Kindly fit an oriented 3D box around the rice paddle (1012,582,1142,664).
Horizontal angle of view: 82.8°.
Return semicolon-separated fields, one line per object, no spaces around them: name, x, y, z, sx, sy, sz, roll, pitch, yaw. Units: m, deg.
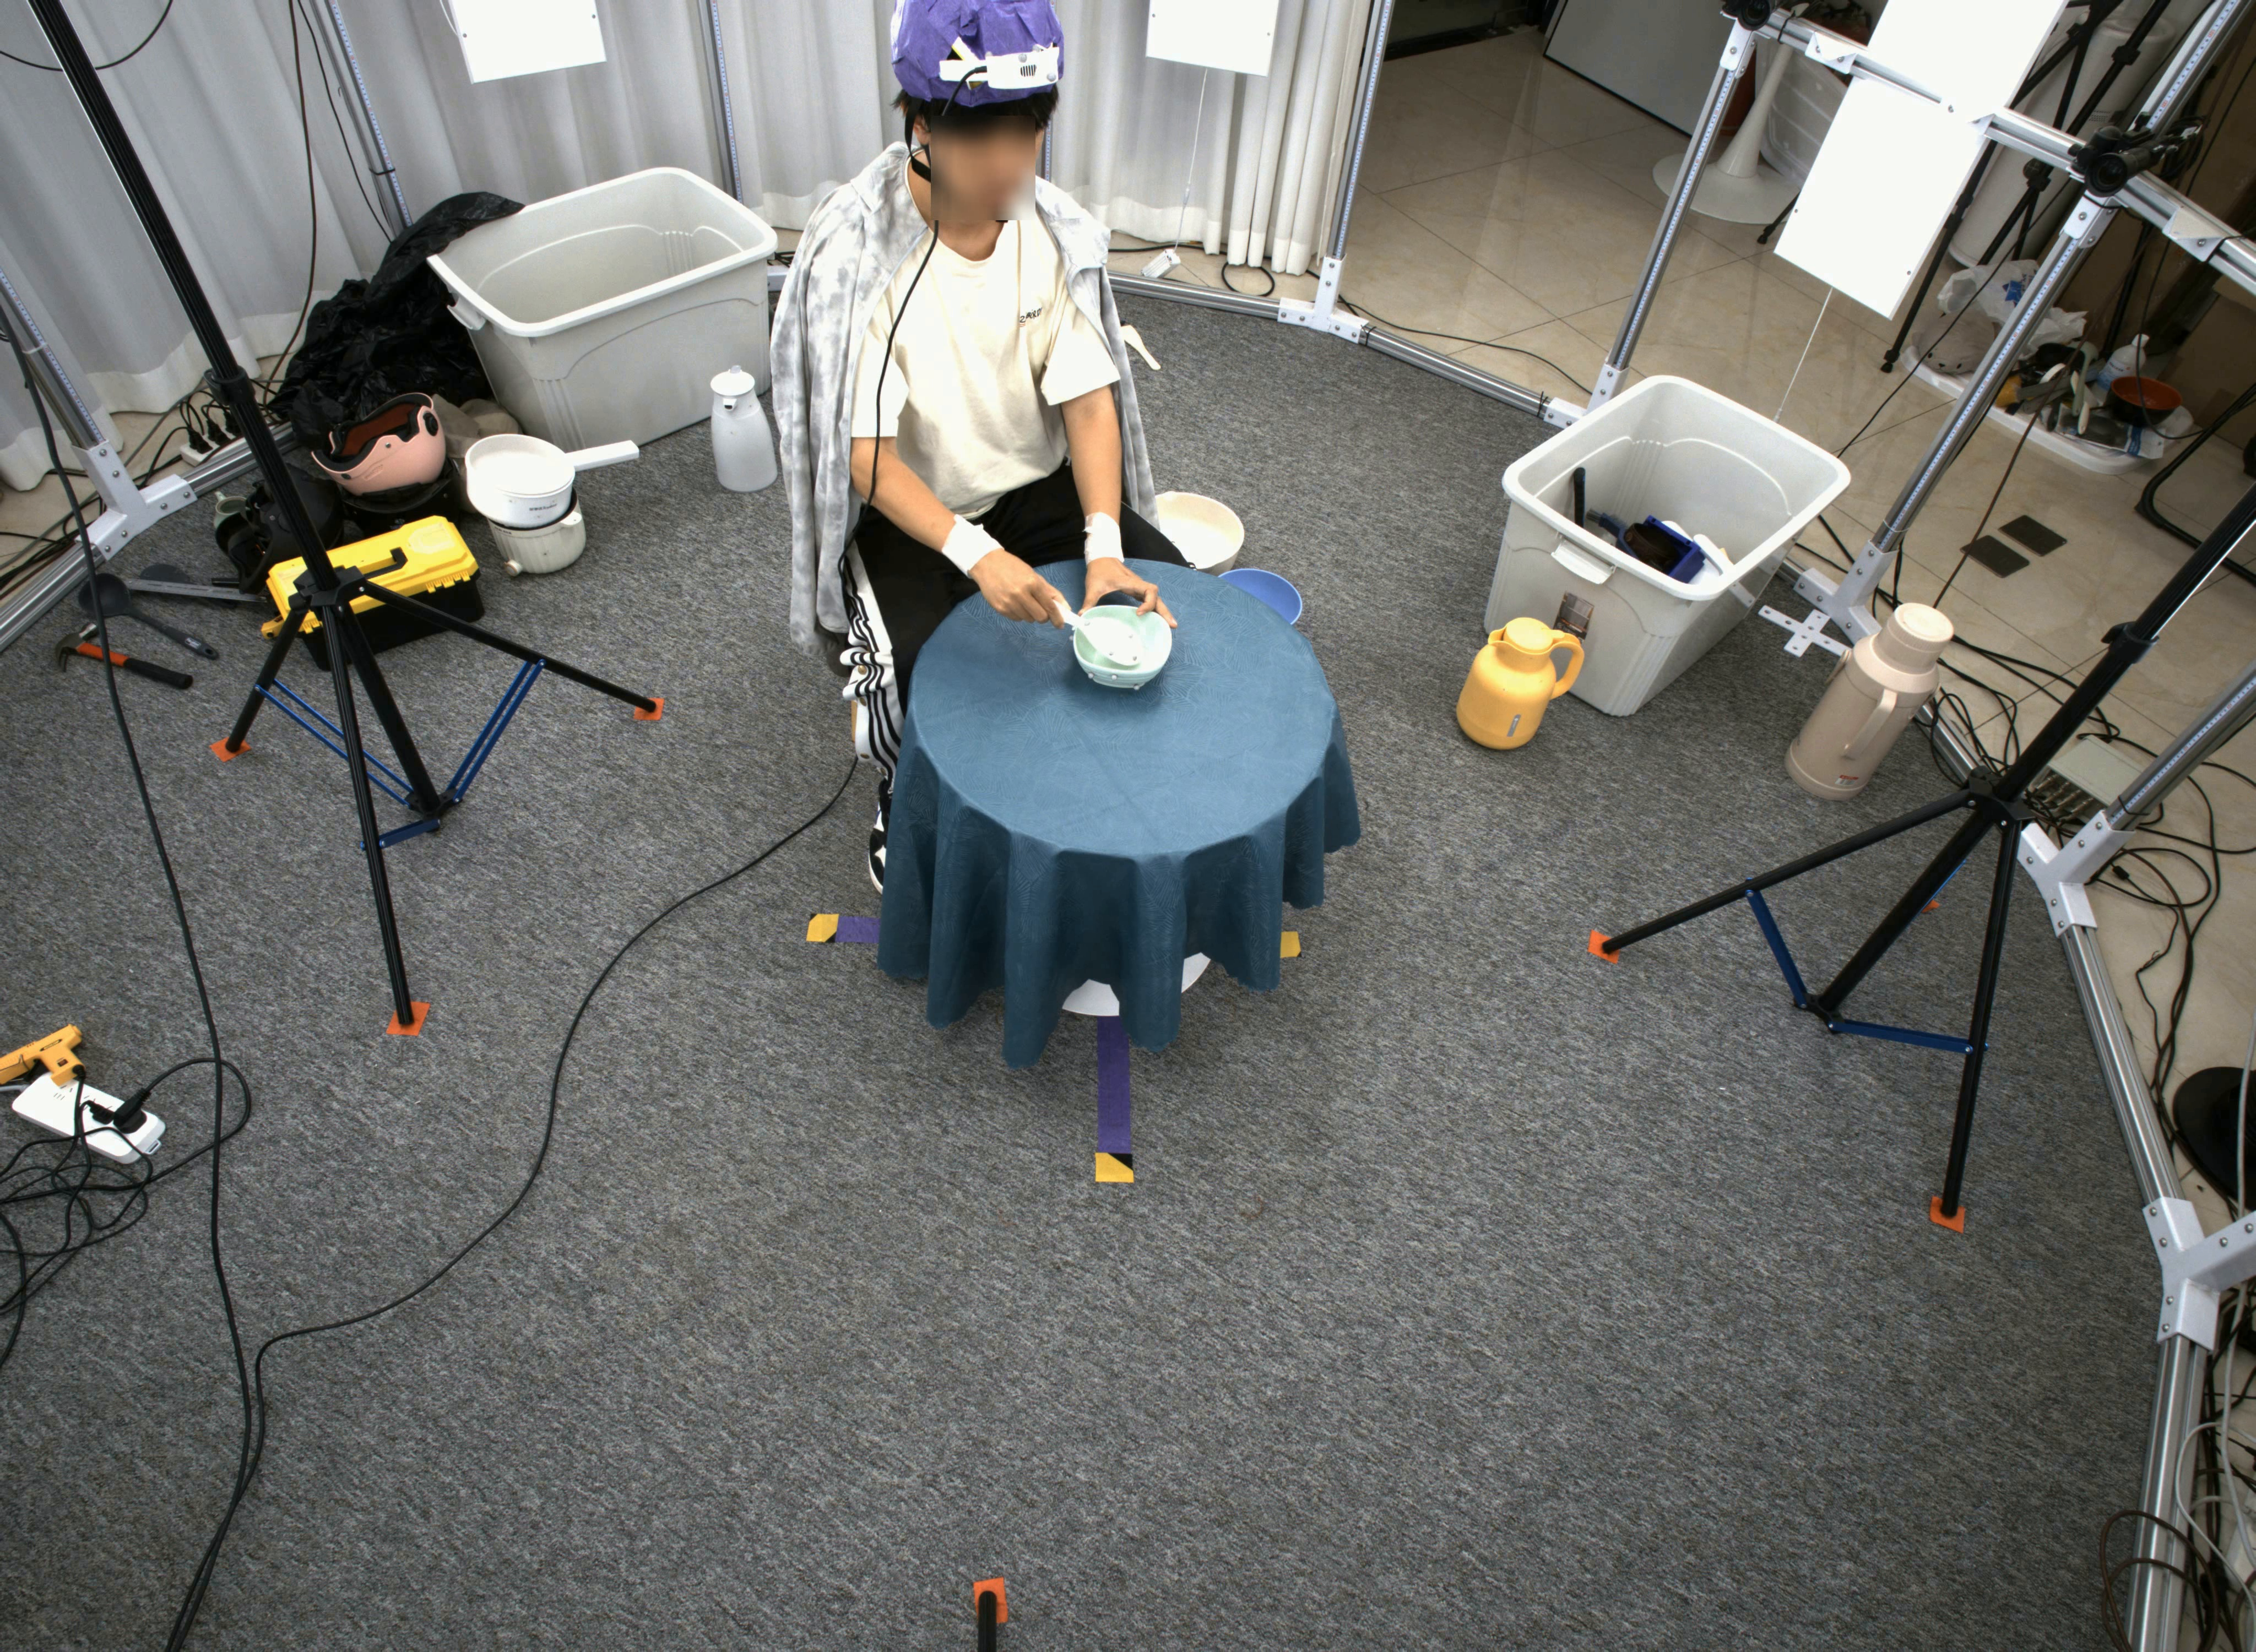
rice paddle;-0.065;-0.287;1.812;0.203;0.029;0.070;23;56;-21

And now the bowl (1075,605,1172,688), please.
bowl;-0.007;-0.249;1.841;0.151;0.057;0.155;1;50;-1
